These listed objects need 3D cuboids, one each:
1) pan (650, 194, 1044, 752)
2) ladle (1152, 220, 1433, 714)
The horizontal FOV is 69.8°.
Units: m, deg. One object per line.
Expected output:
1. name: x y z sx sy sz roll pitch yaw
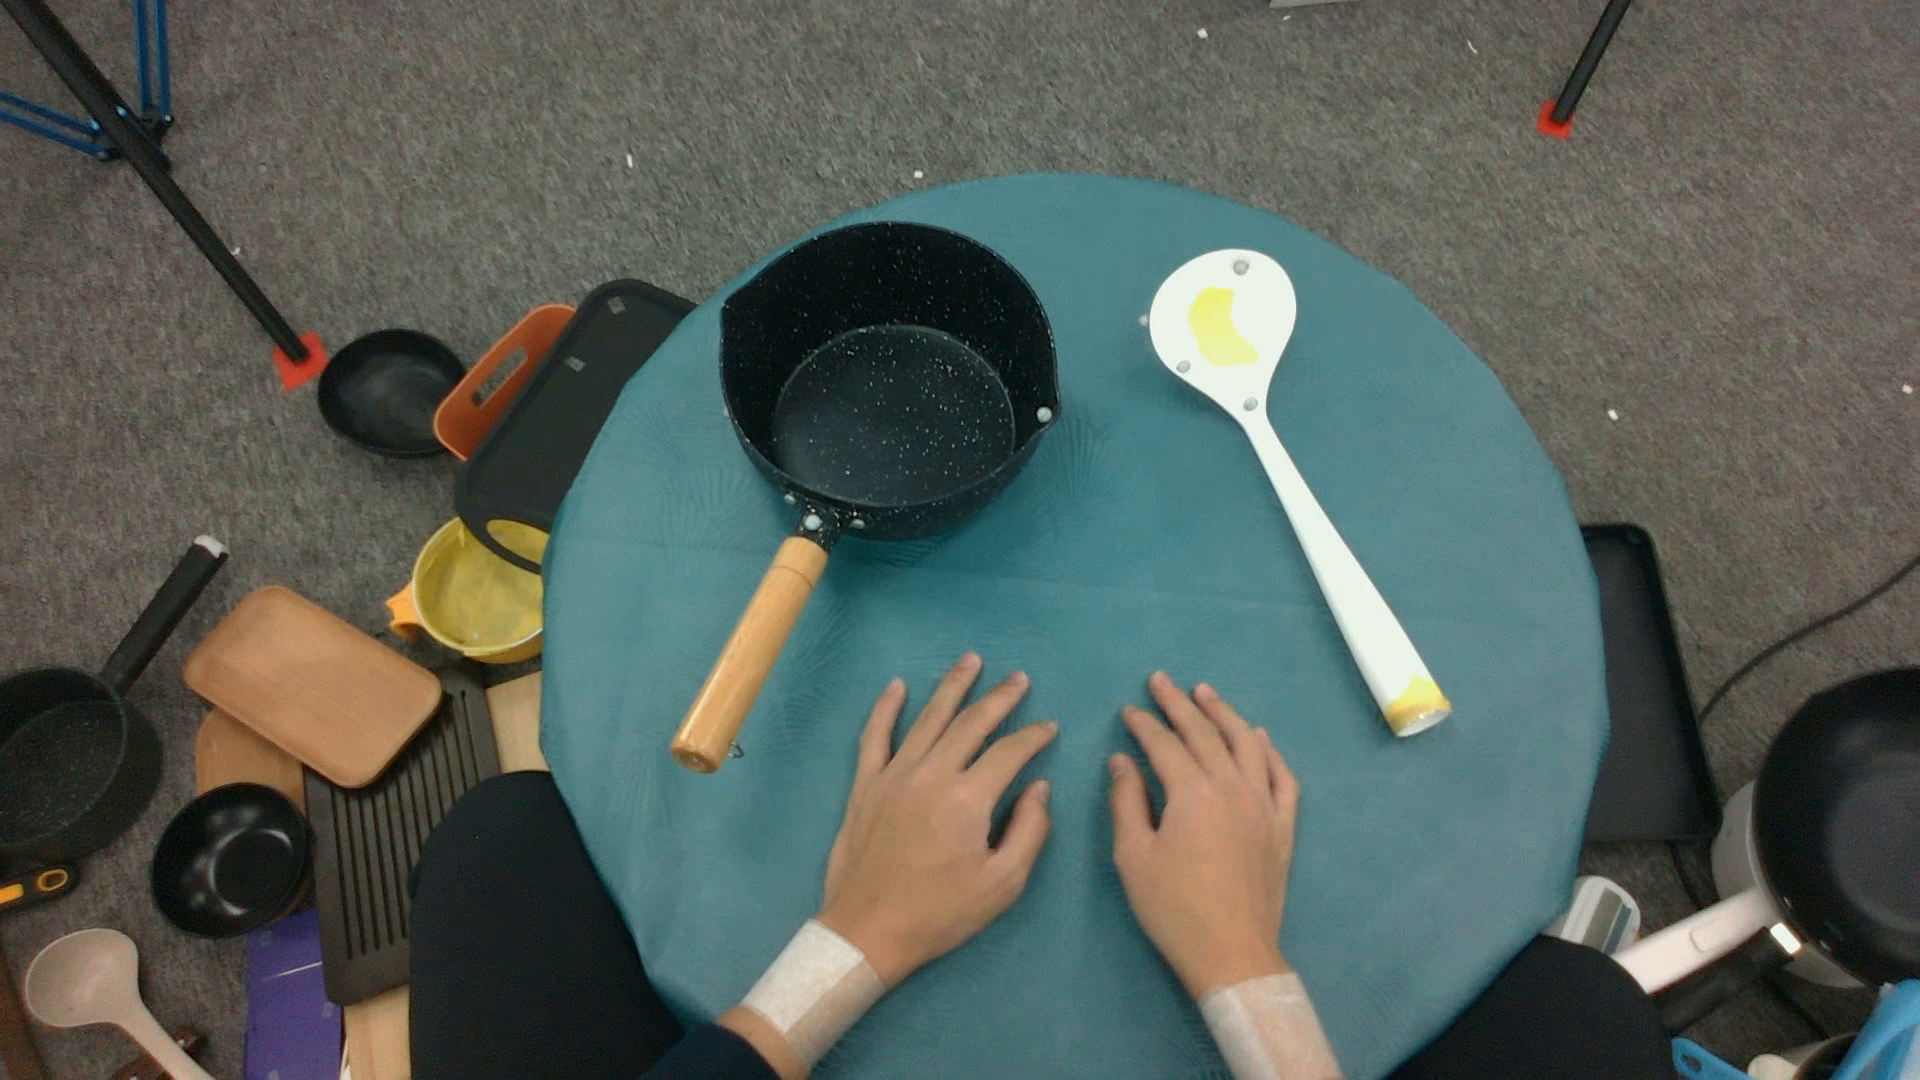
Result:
1. pan: -0.076 -0.032 0.744 0.207 0.108 0.344 18 66 6
2. ladle: 0.193 -0.046 0.780 0.090 0.069 0.293 -16 68 -13
